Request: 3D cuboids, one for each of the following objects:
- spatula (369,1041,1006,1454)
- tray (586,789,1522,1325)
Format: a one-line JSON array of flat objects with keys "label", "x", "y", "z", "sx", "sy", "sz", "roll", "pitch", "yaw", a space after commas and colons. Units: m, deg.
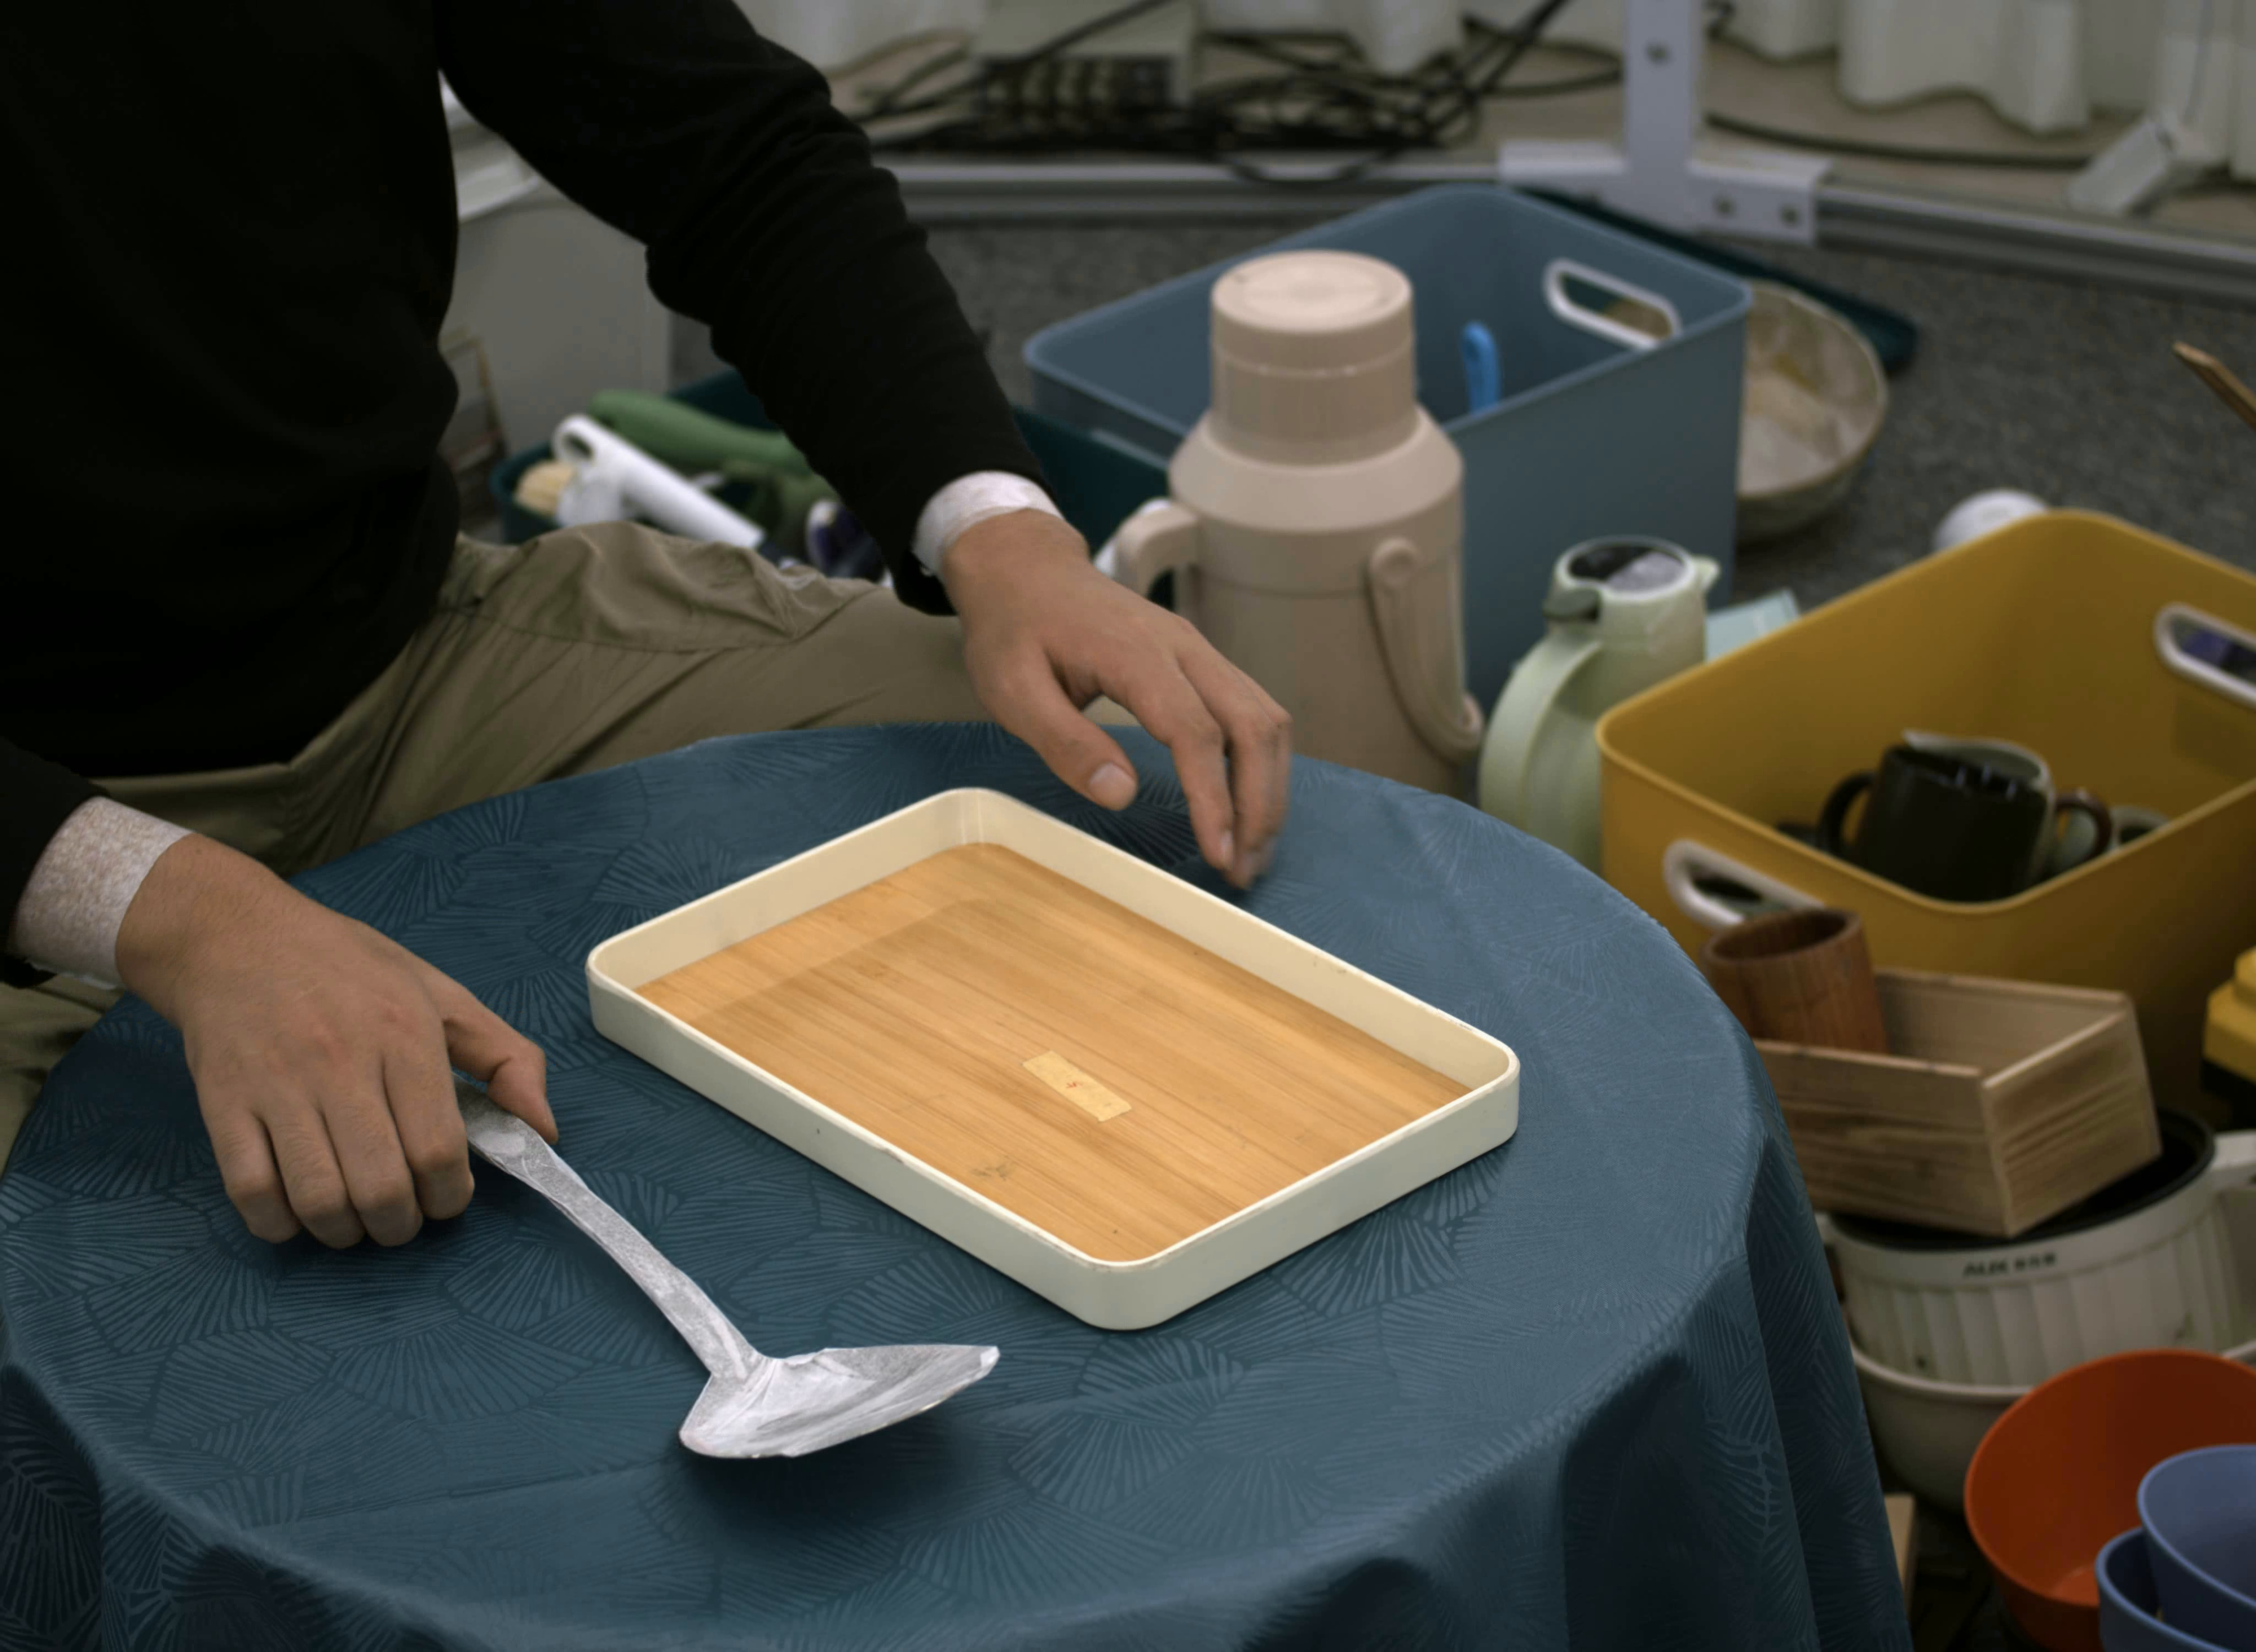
[{"label": "spatula", "x": -0.167, "y": 0.128, "z": 1.824, "sx": 0.099, "sy": 0.044, "sz": 0.366, "roll": -20, "pitch": 32, "yaw": -28}, {"label": "tray", "x": -0.029, "y": 0.074, "z": 1.927, "sx": 0.193, "sy": 0.027, "sz": 0.300, "roll": -24, "pitch": 34, "yaw": -34}]
